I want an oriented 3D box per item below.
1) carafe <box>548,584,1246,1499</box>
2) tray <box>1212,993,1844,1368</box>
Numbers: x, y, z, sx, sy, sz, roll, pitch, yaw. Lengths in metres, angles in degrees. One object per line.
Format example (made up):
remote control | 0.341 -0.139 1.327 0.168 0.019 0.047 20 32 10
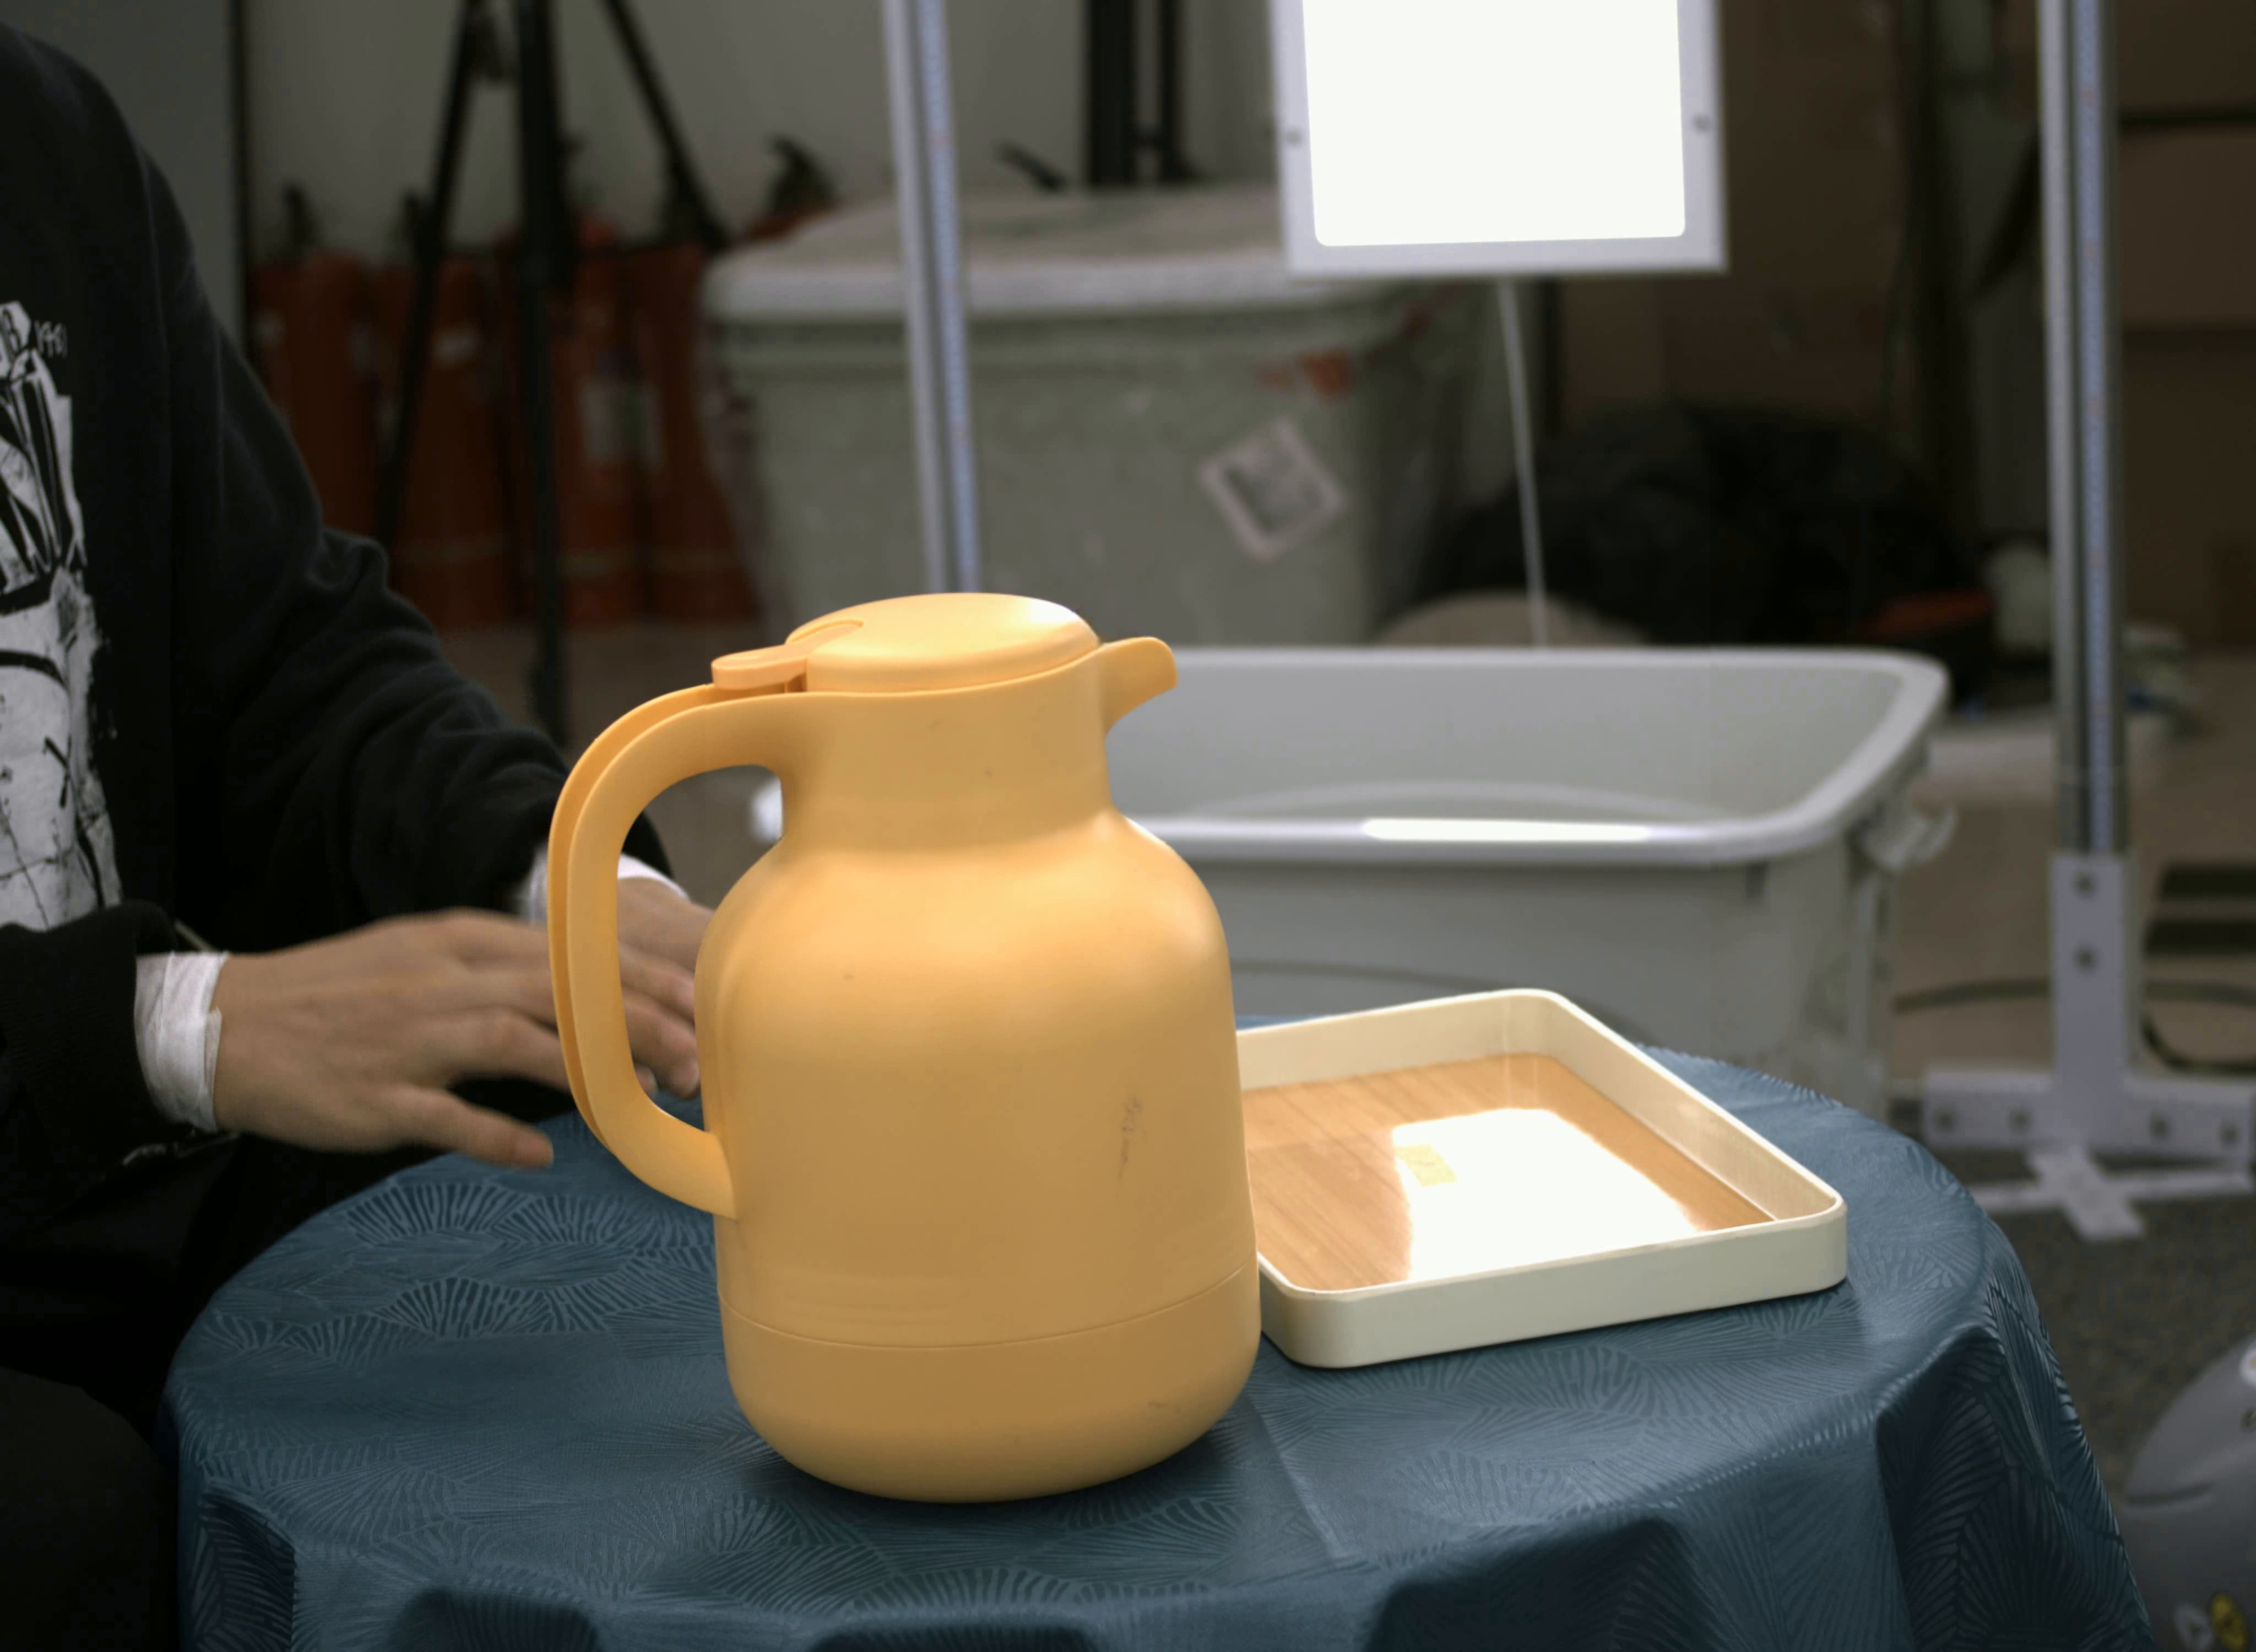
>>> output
carafe | -0.069 0.062 1.635 0.199 0.261 0.165 -6 11 -14
tray | 0.103 0.115 1.853 0.189 0.027 0.303 -8 14 -13
